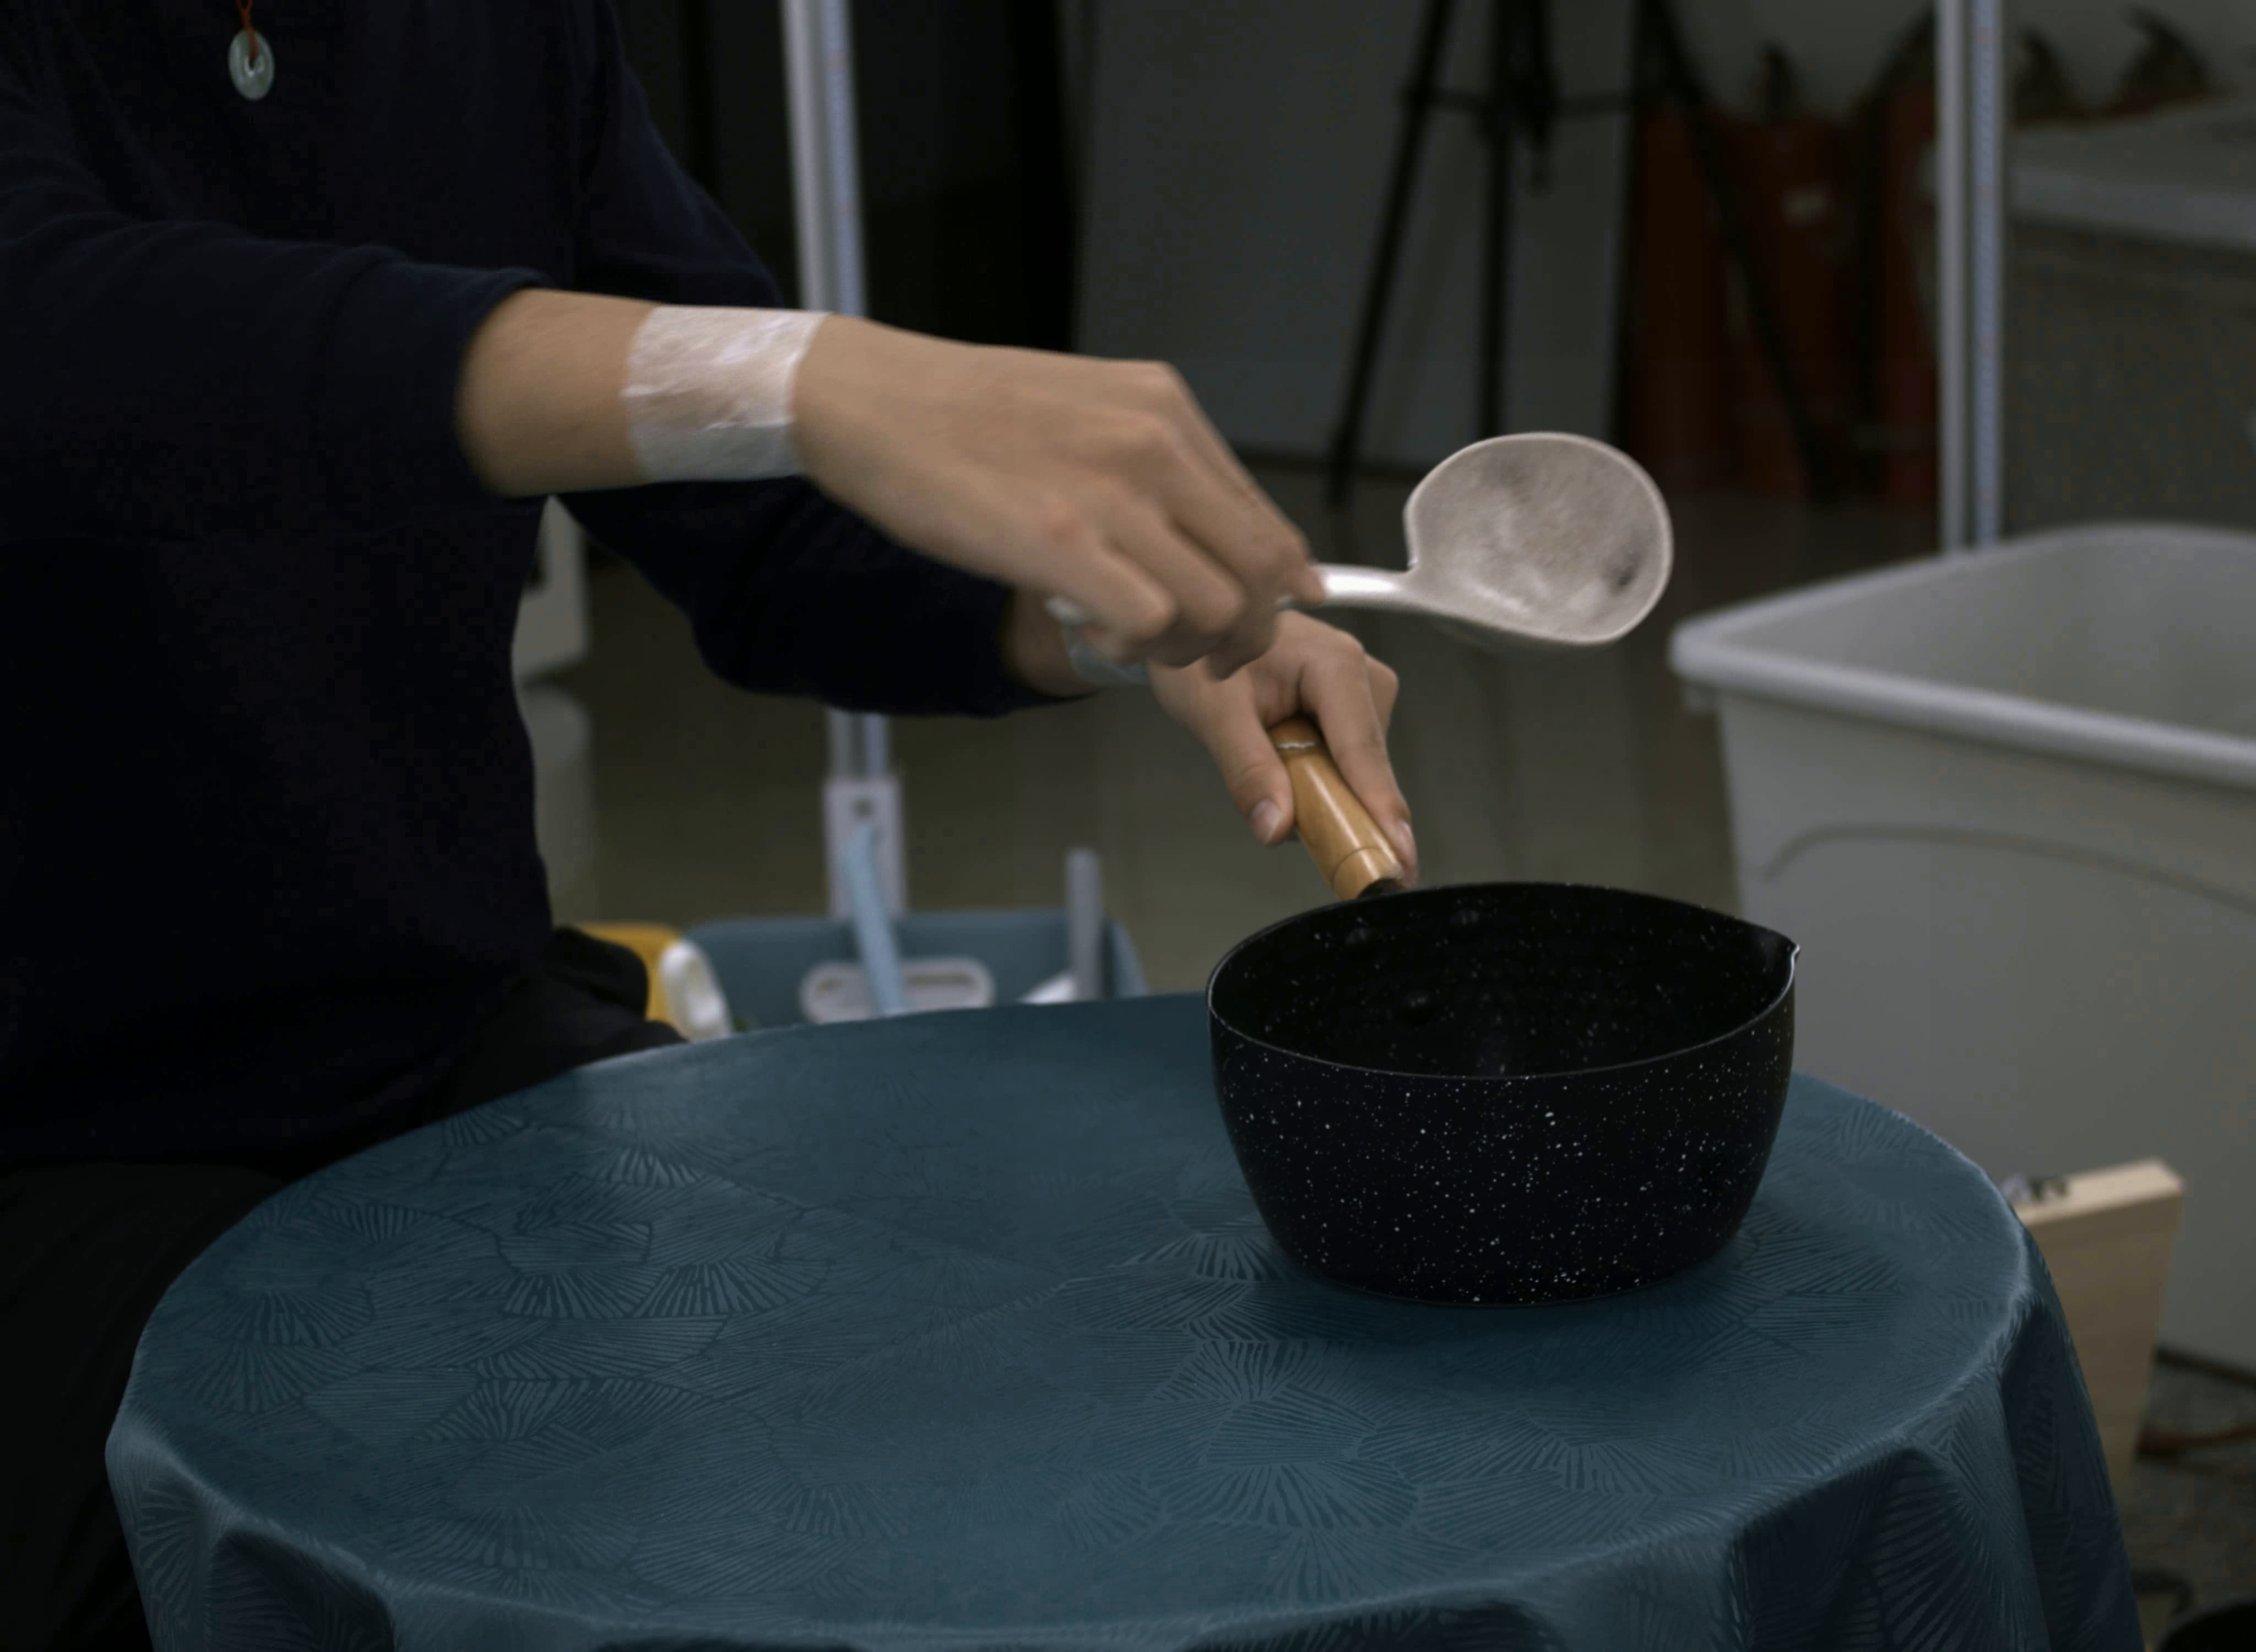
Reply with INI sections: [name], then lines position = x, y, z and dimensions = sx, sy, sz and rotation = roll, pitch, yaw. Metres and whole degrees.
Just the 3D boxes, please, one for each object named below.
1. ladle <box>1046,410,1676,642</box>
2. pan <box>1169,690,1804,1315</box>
[ladle]
position = 0.070, -0.095, 1.594
dimensions = 0.090, 0.070, 0.269
rotation = 42, 21, 27
[pan]
position = 0.095, 0.052, 1.761
dimensions = 0.203, 0.109, 0.346
rotation = -9, 19, -14
